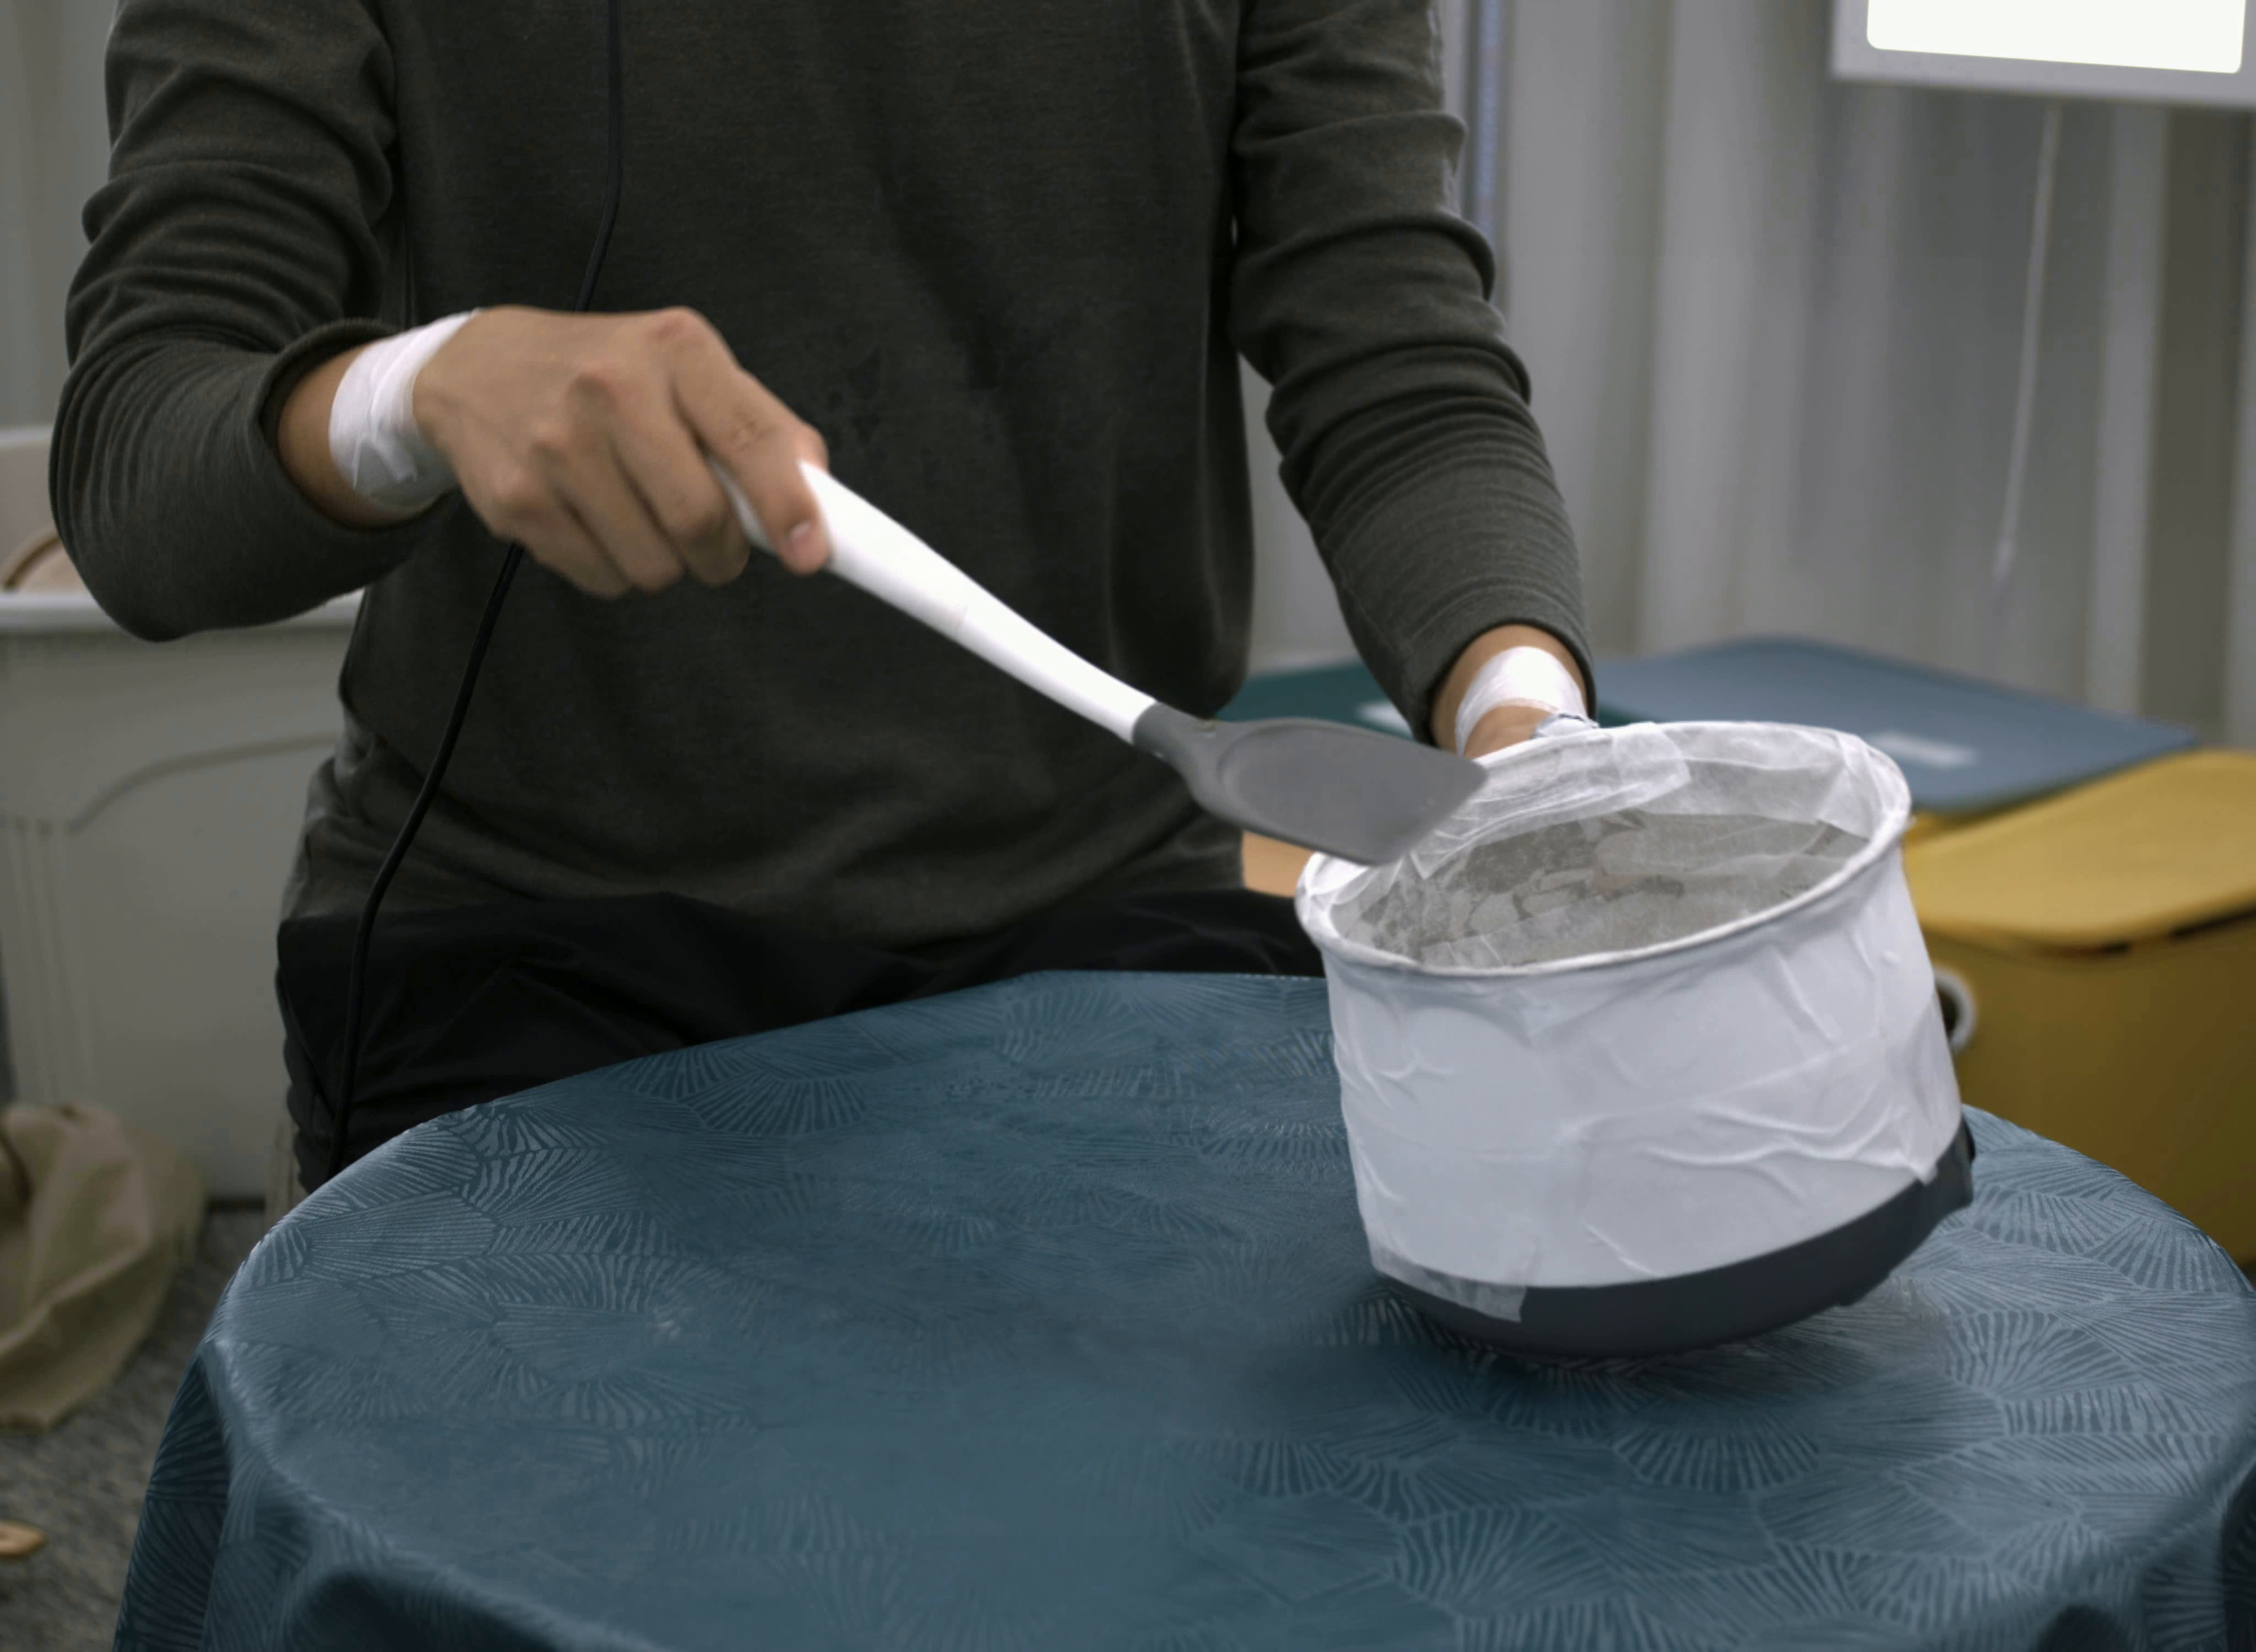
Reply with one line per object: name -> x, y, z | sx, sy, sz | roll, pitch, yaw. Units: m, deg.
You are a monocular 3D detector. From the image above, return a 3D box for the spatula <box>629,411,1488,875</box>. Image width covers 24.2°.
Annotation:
spatula -> -0.025, -0.052, 1.471 | 0.284, 0.032, 0.058 | 27, 50, 29

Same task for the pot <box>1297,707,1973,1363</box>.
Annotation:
pot -> 0.145, 0.053, 1.531 | 0.178, 0.138, 0.232 | -11, 20, 1
